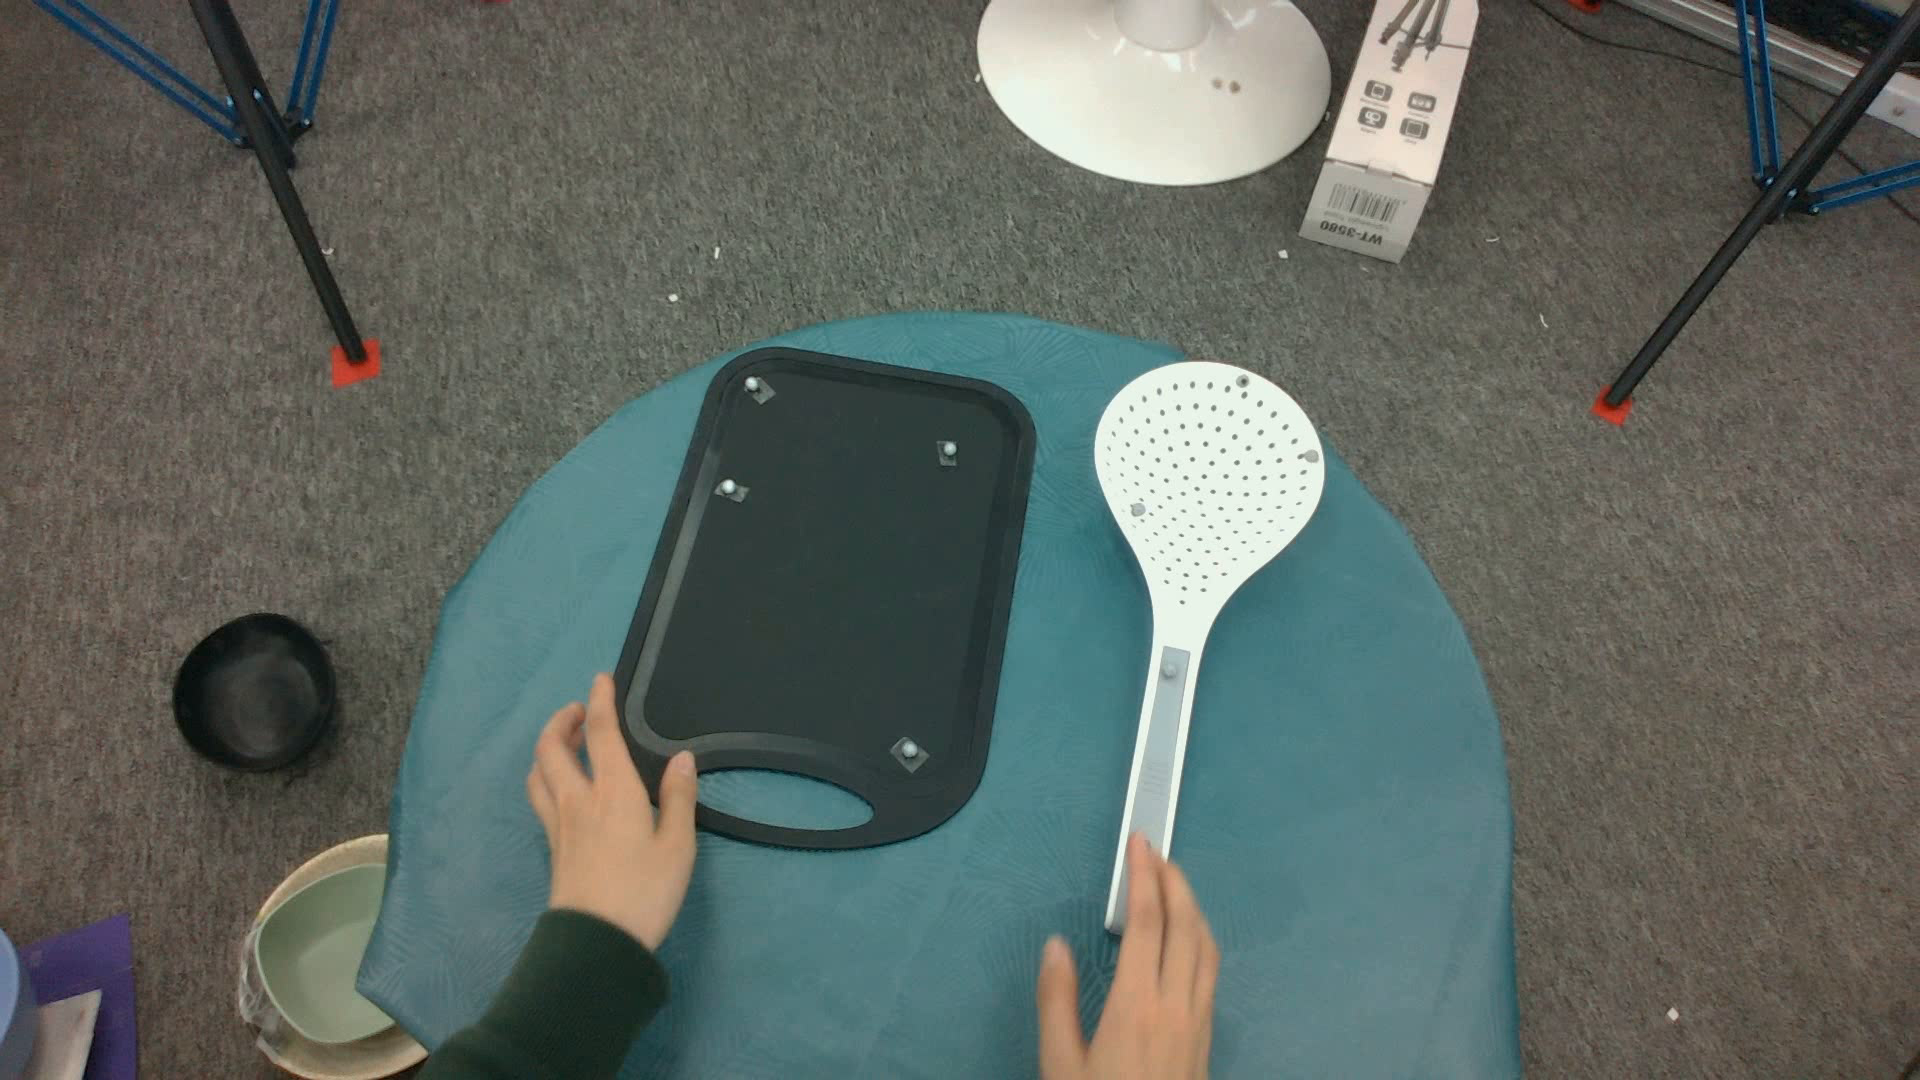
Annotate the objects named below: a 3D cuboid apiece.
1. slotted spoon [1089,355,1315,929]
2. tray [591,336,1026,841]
[{"bbox_3d":[0.119,0.044,0.775,0.136,0.045,0.351,12,59,4],"label":"slotted spoon"},{"bbox_3d":[-0.080,0.016,0.795,0.211,0.010,0.327,10,58,1],"label":"tray"}]
